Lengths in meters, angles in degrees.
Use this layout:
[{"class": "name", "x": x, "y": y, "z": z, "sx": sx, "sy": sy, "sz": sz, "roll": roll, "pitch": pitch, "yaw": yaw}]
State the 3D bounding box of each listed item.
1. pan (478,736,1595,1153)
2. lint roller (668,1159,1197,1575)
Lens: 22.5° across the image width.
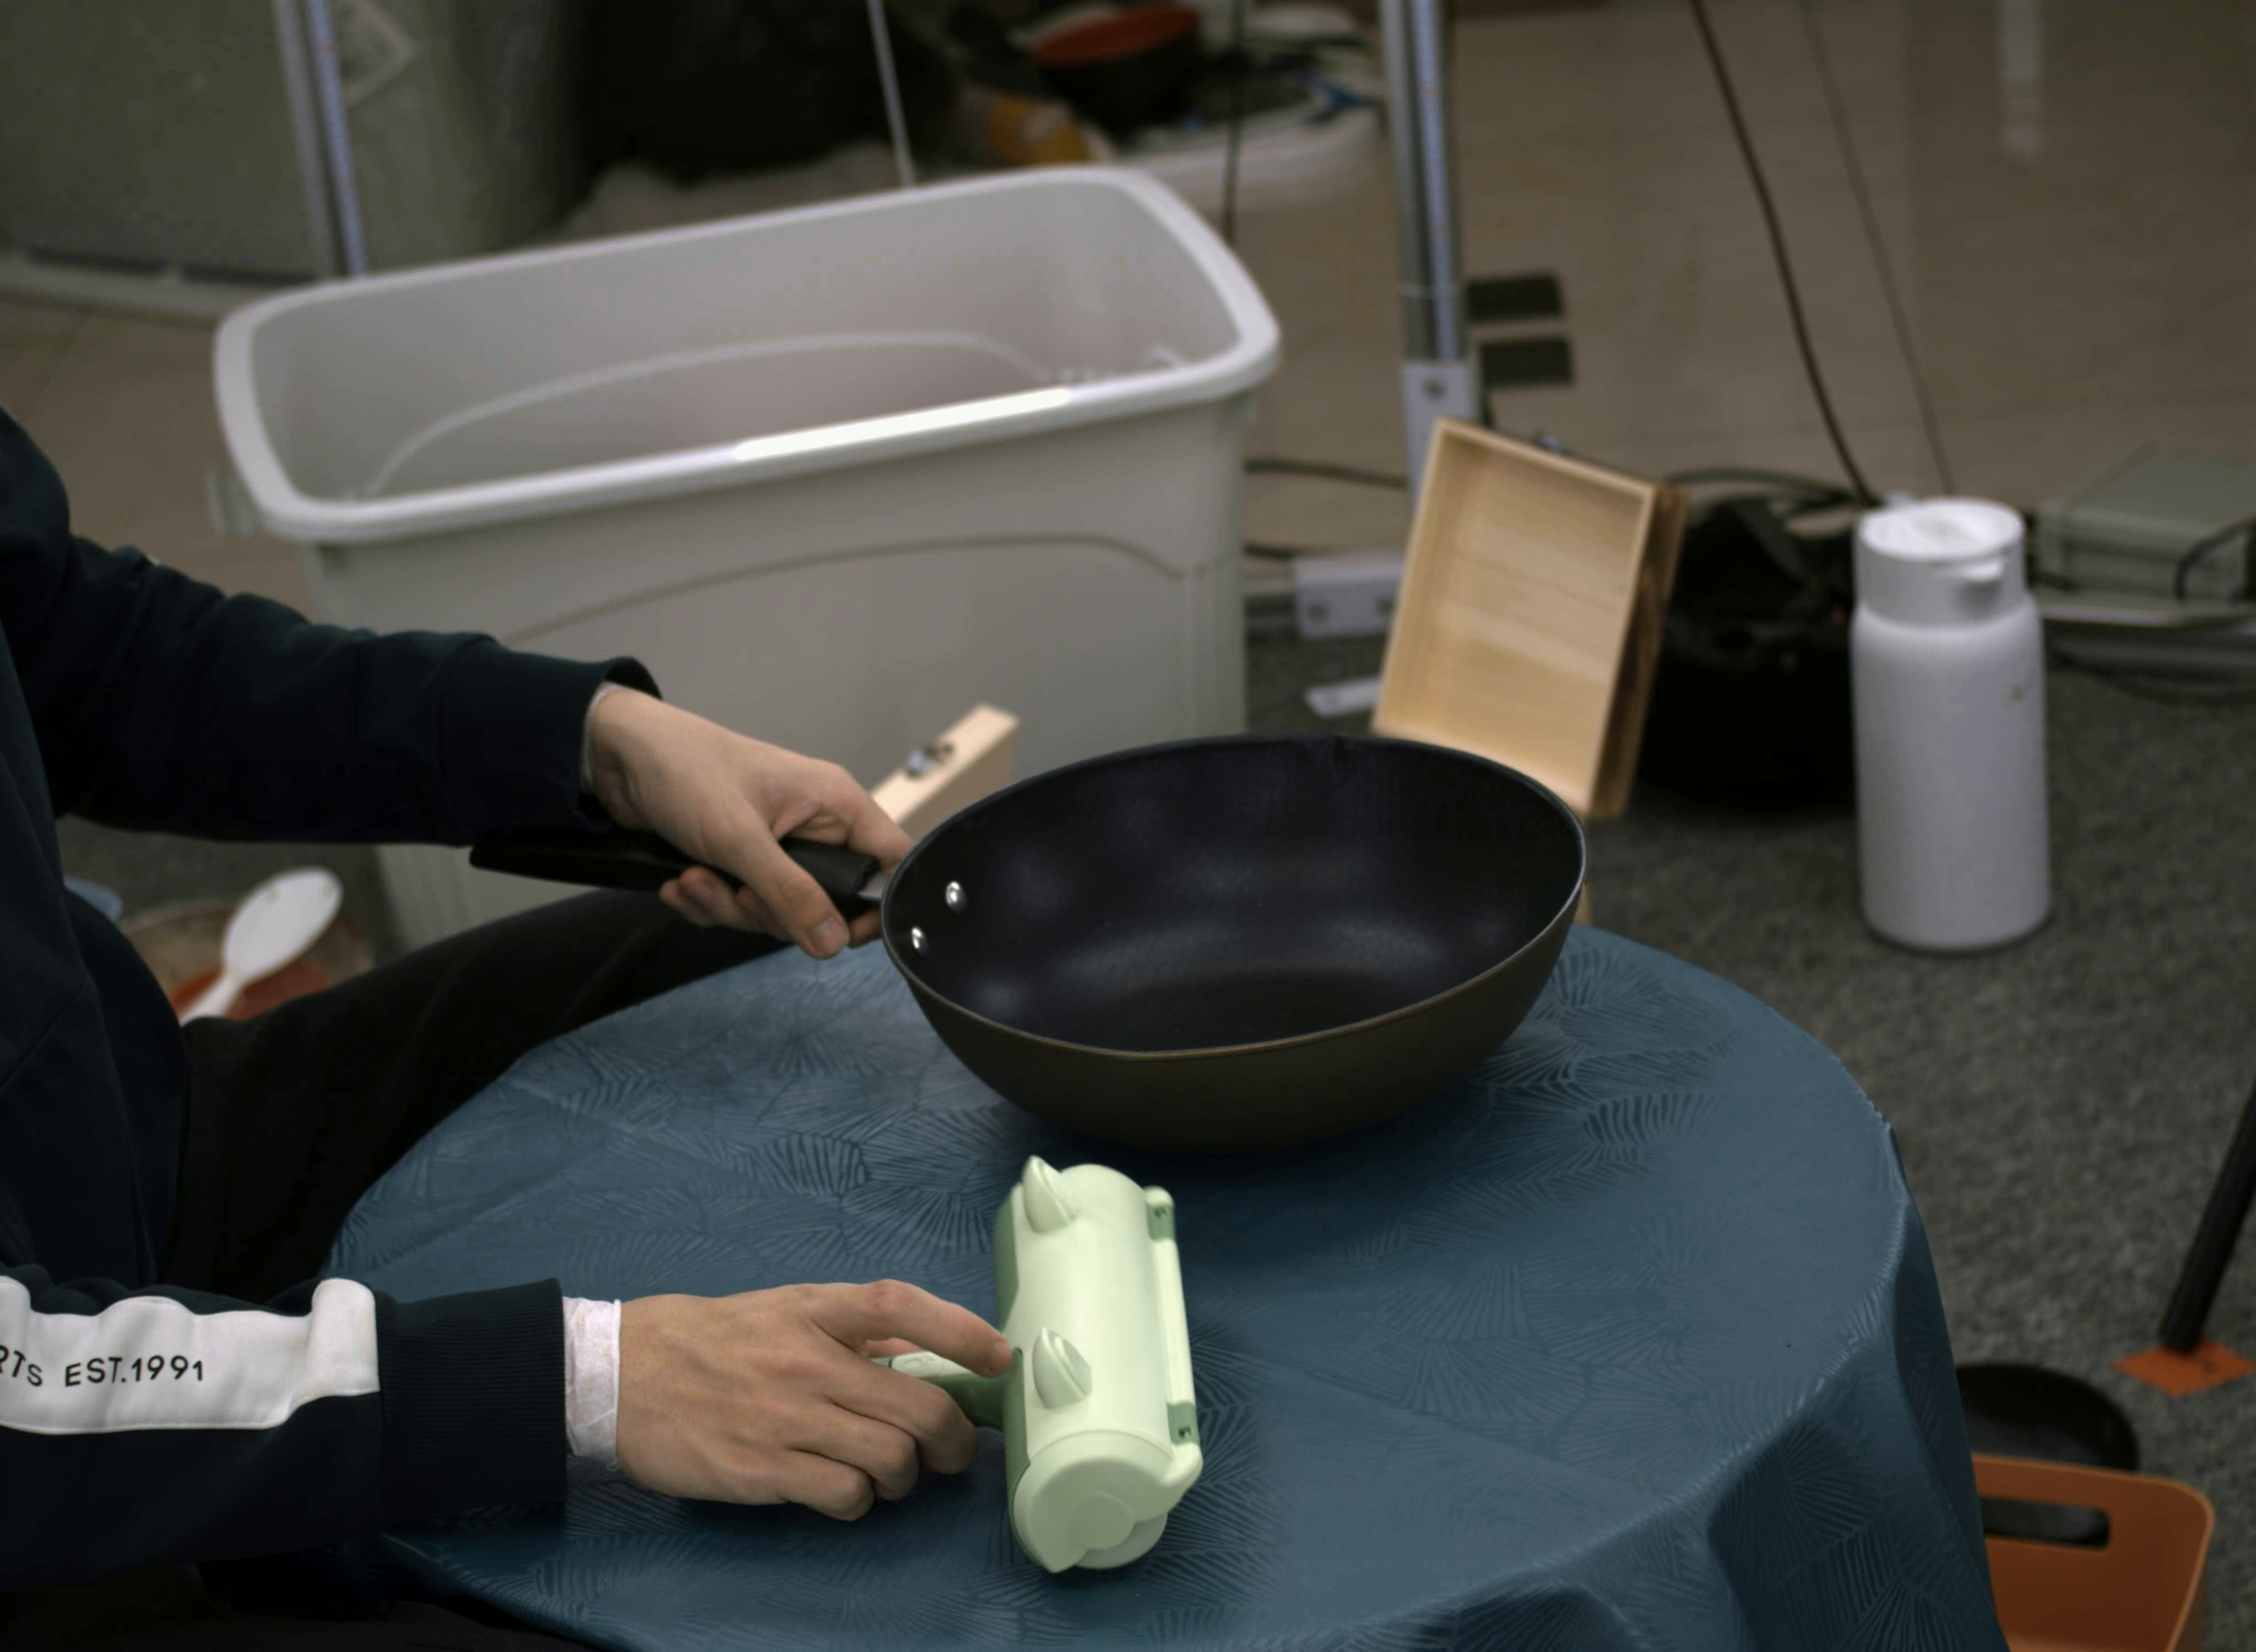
[{"class": "pan", "x": -0.041, "y": 0.052, "z": 2.238, "sx": 0.462, "sy": 0.088, "sz": 0.284, "roll": 2, "pitch": 26, "yaw": 18}, {"class": "lint roller", "x": -0.071, "y": 0.183, "z": 1.966, "sx": 0.183, "sy": 0.083, "sz": 0.195, "roll": -3, "pitch": 27, "yaw": 0}]
